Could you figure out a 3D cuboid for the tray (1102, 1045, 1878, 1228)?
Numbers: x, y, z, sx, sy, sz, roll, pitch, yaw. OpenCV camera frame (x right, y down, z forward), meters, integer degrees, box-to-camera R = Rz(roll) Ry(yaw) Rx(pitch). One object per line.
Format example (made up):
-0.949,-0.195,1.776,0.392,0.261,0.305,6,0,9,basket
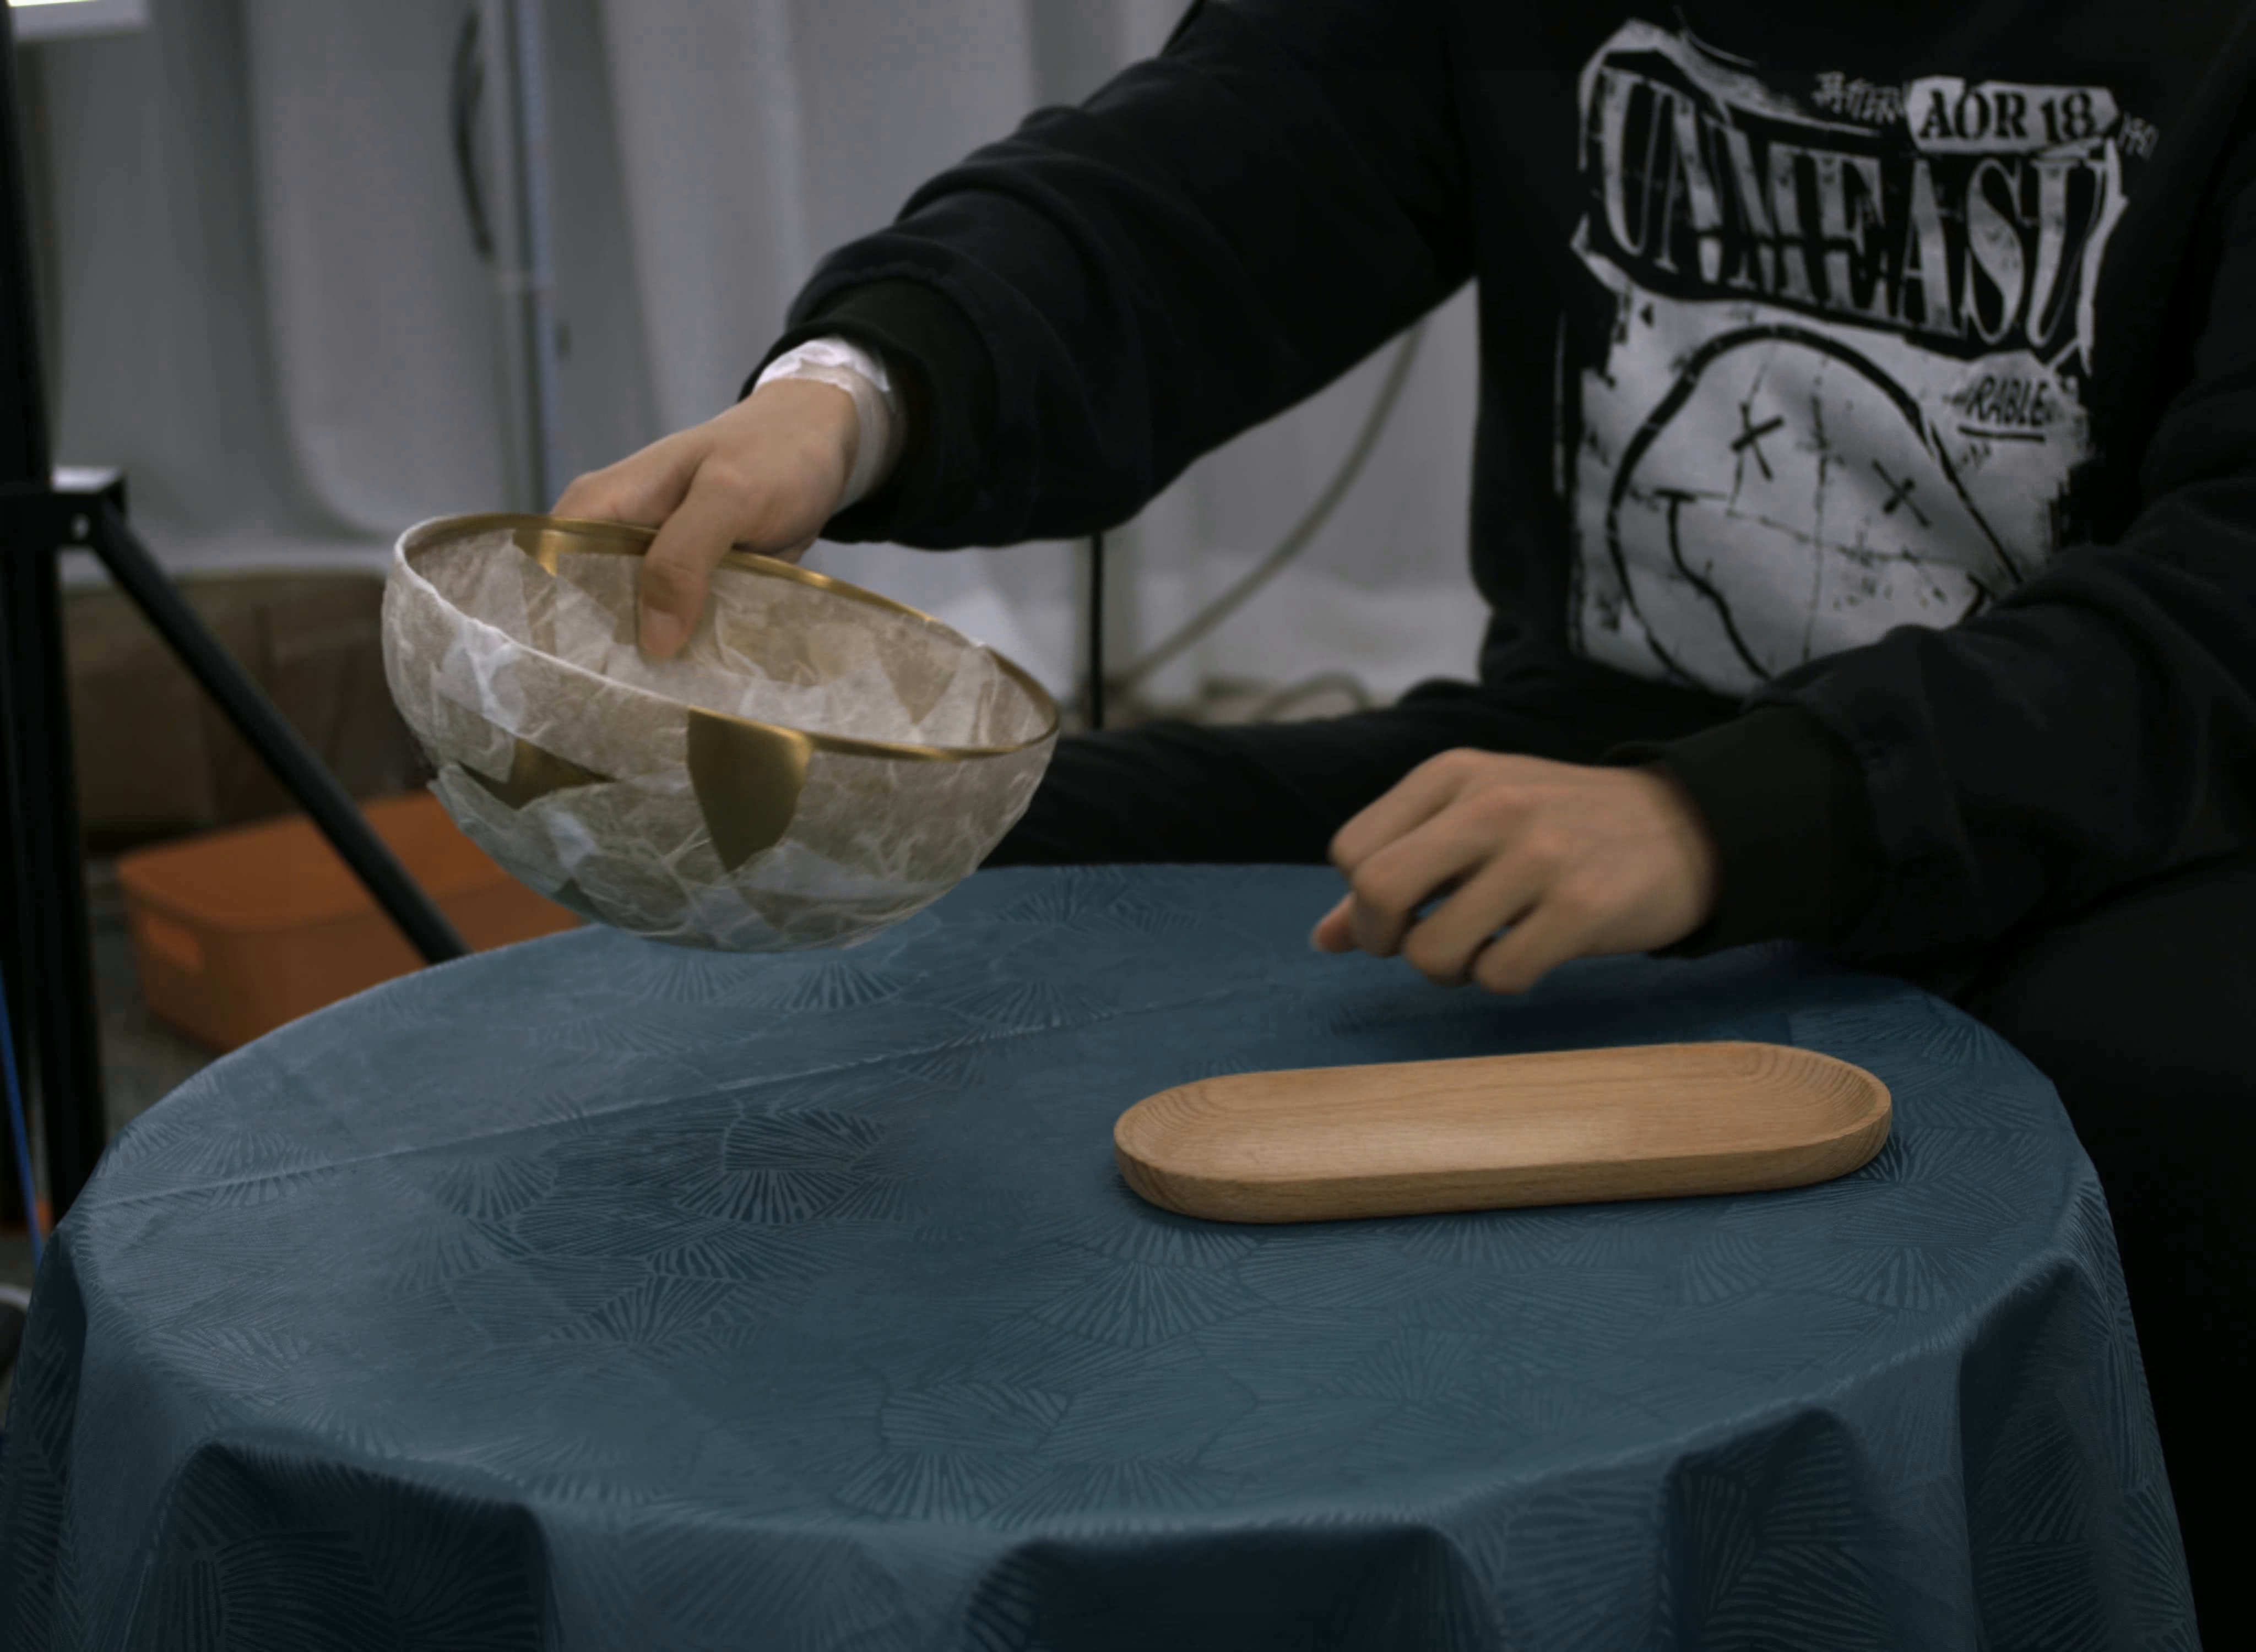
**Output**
0.108,0.092,1.567,0.229,0.020,0.102,-5,14,-3,tray

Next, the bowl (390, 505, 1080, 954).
-0.122,-0.017,1.572,0.213,0.095,0.216,14,13,-5,bowl
